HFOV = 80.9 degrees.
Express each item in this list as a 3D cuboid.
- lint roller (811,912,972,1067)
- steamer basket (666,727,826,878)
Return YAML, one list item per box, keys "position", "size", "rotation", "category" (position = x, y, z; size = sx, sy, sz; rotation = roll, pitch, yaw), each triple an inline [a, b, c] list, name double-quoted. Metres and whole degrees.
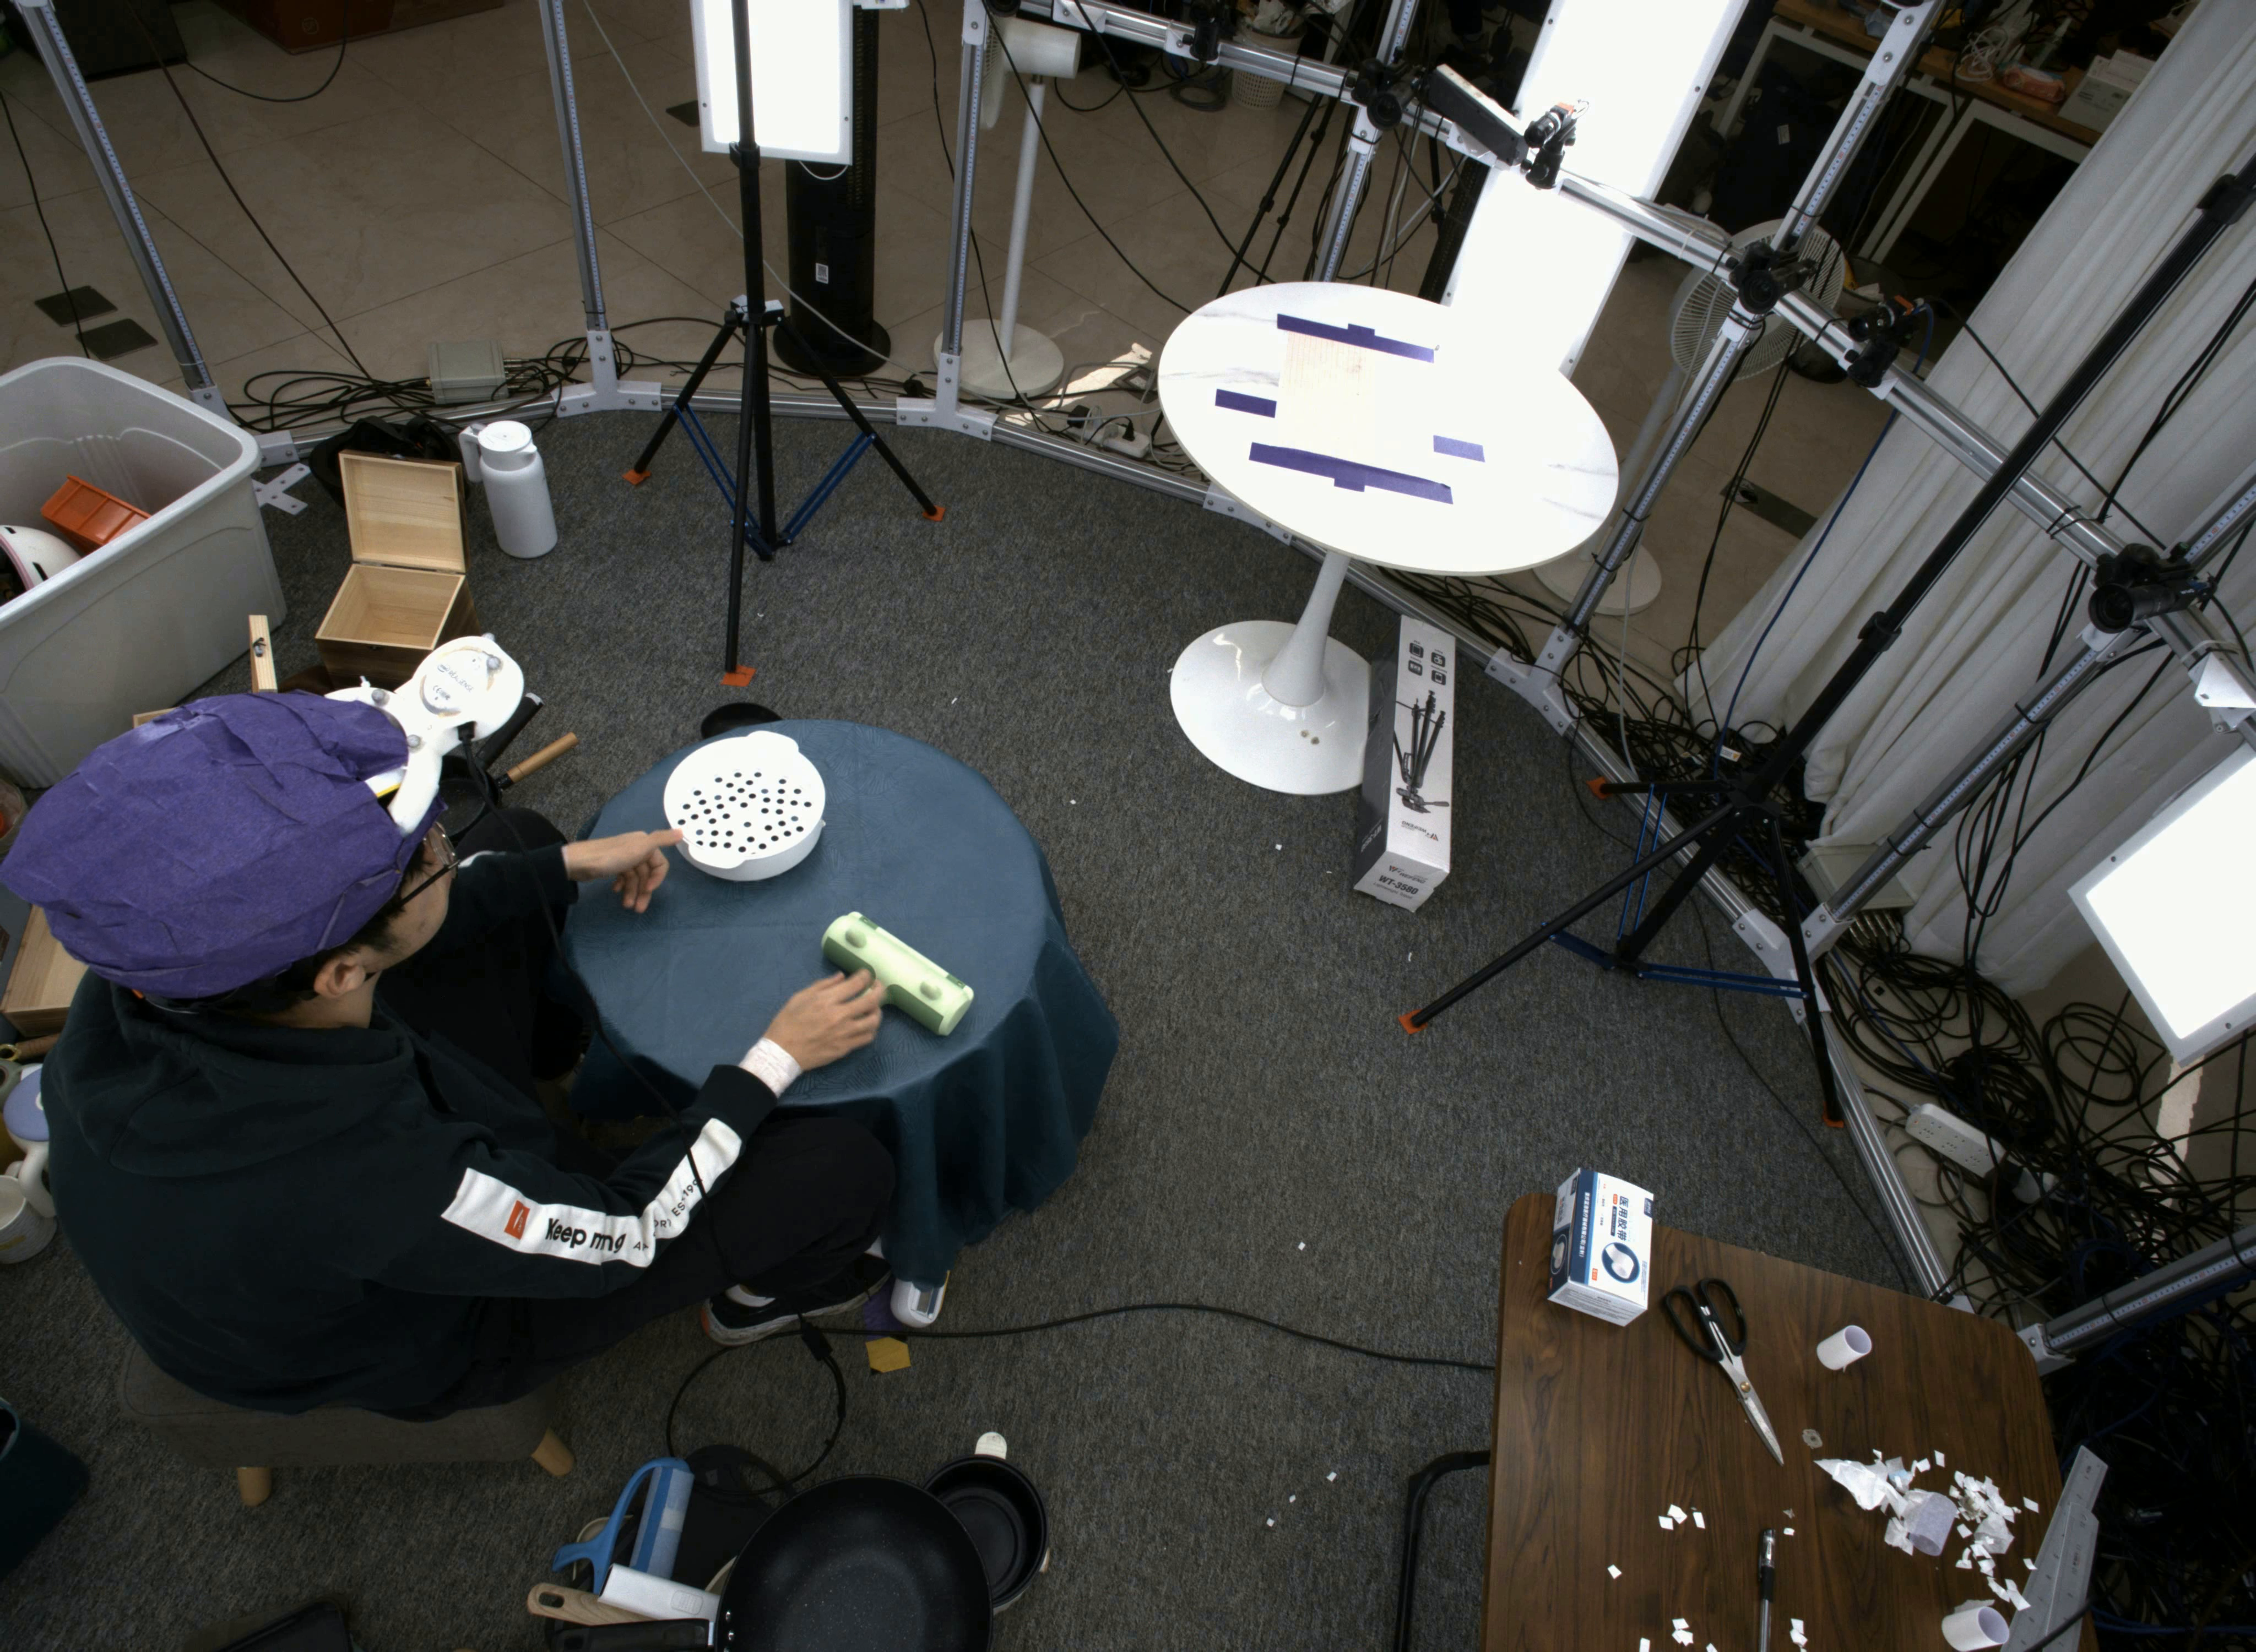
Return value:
- position: [-0.315, 0.205, 1.557]
  size: [0.195, 0.084, 0.183]
  rotation: [33, 49, 11]
  category: "lint roller"
- position: [-0.497, -0.026, 1.686]
  size: [0.201, 0.070, 0.227]
  rotation: [16, 50, -4]
  category: "steamer basket"
